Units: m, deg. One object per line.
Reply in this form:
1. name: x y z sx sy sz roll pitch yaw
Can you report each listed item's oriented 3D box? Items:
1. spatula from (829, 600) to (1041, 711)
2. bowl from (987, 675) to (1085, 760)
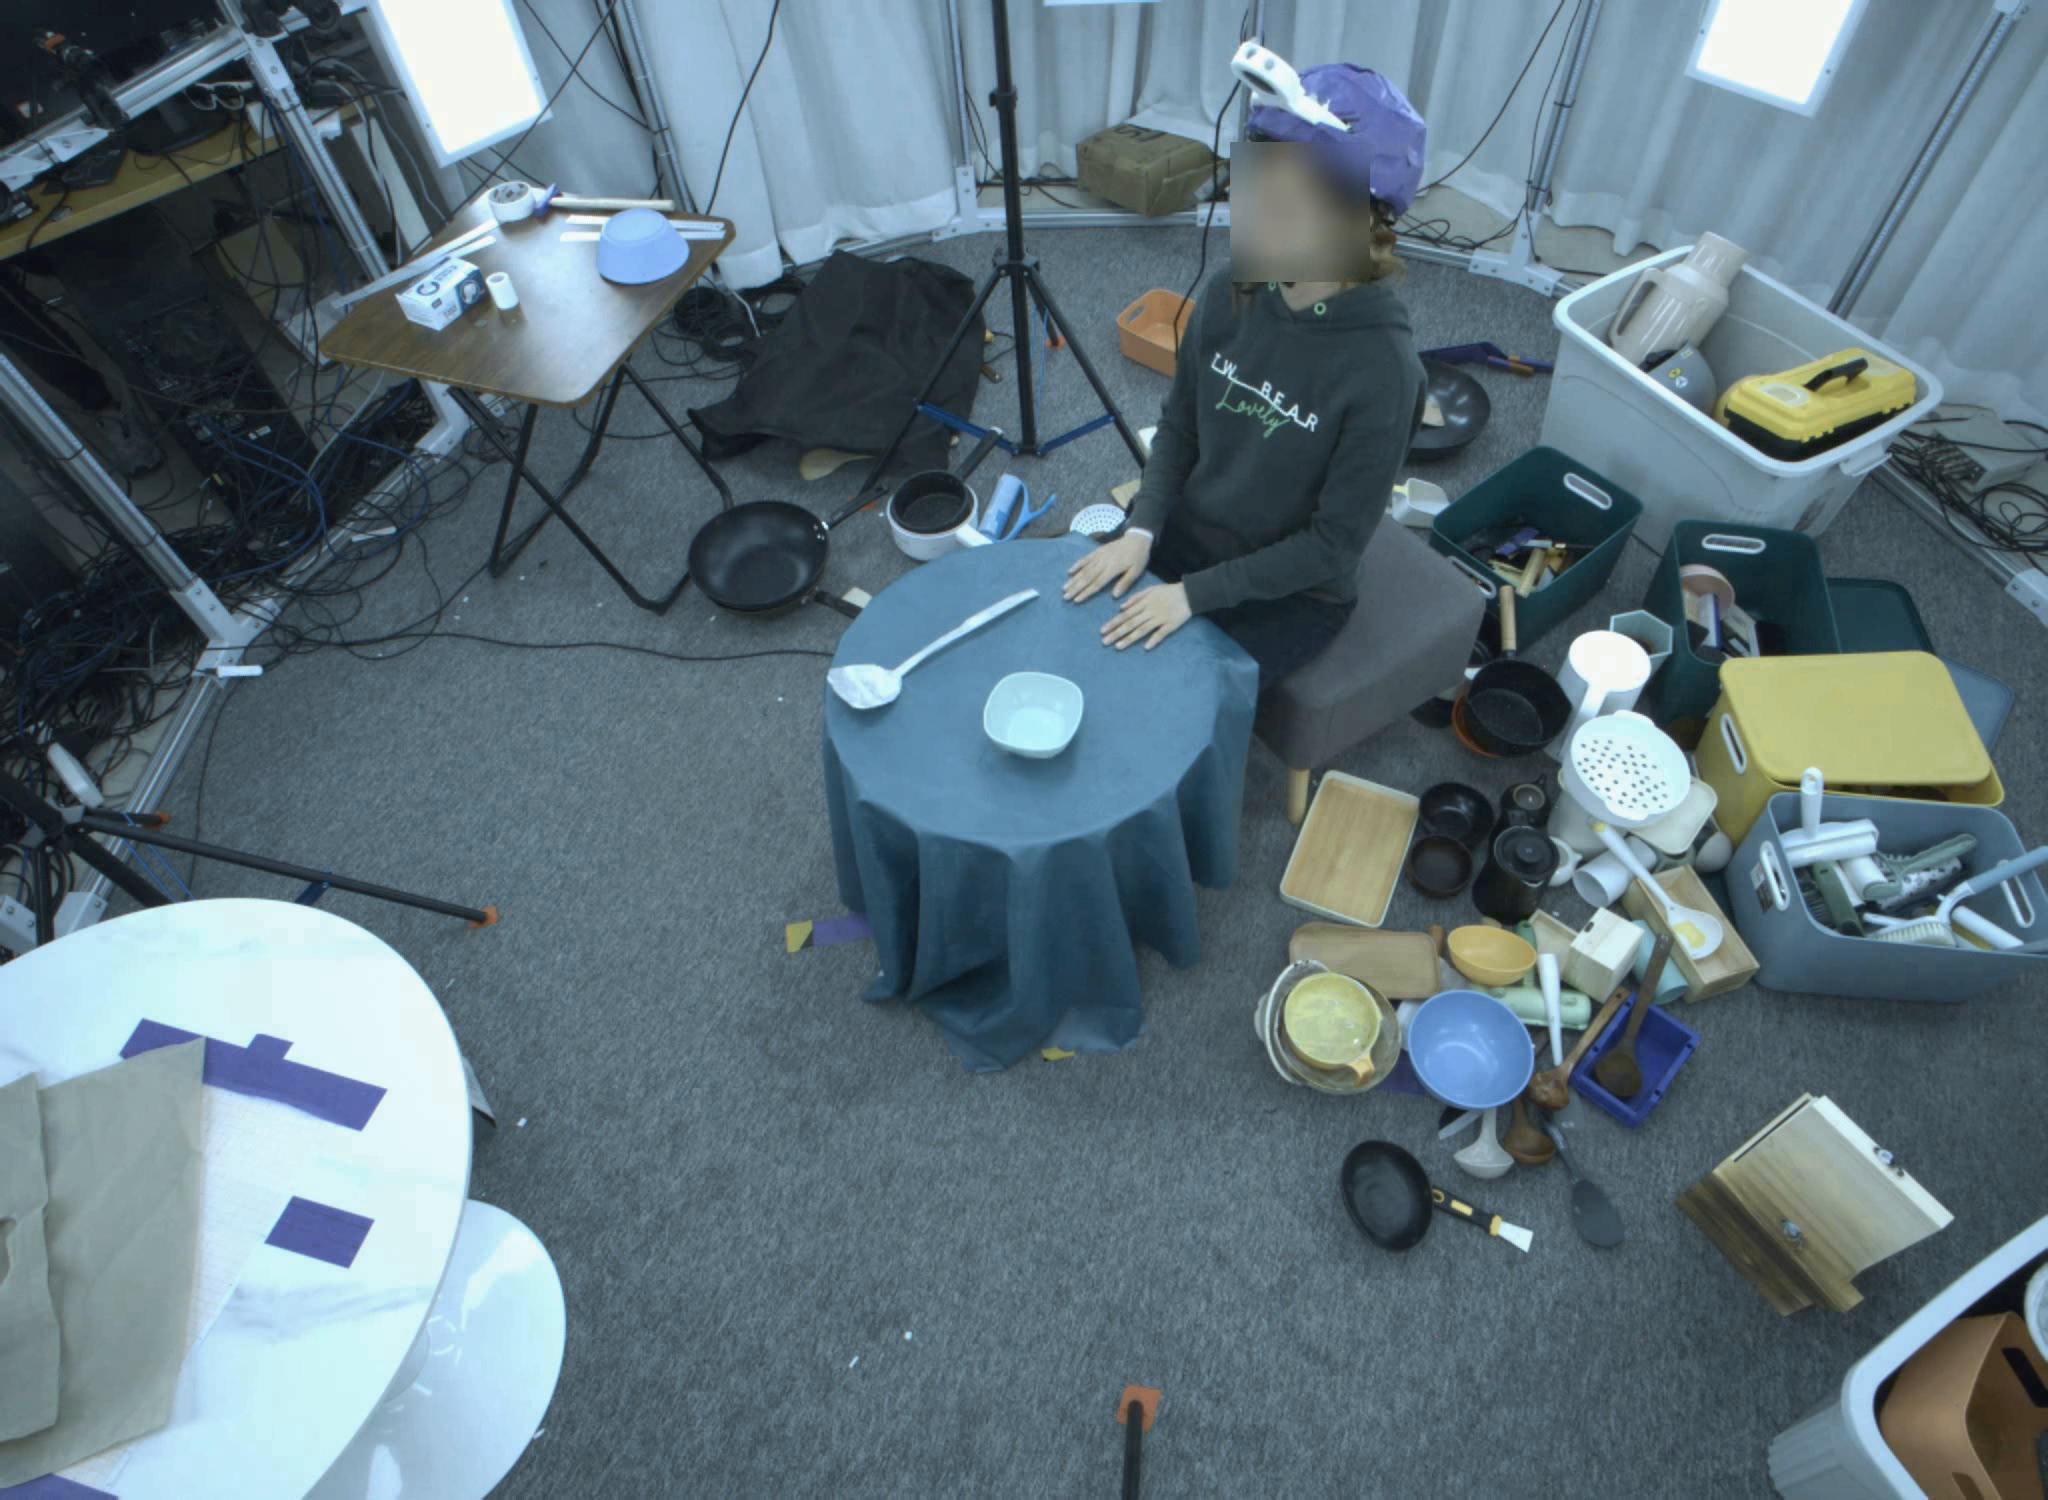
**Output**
1. spatula: -0.128 -0.160 1.890 0.368 0.045 0.097 -32 58 -19
2. bowl: 0.019 -0.036 1.789 0.151 0.059 0.150 -1 57 3
